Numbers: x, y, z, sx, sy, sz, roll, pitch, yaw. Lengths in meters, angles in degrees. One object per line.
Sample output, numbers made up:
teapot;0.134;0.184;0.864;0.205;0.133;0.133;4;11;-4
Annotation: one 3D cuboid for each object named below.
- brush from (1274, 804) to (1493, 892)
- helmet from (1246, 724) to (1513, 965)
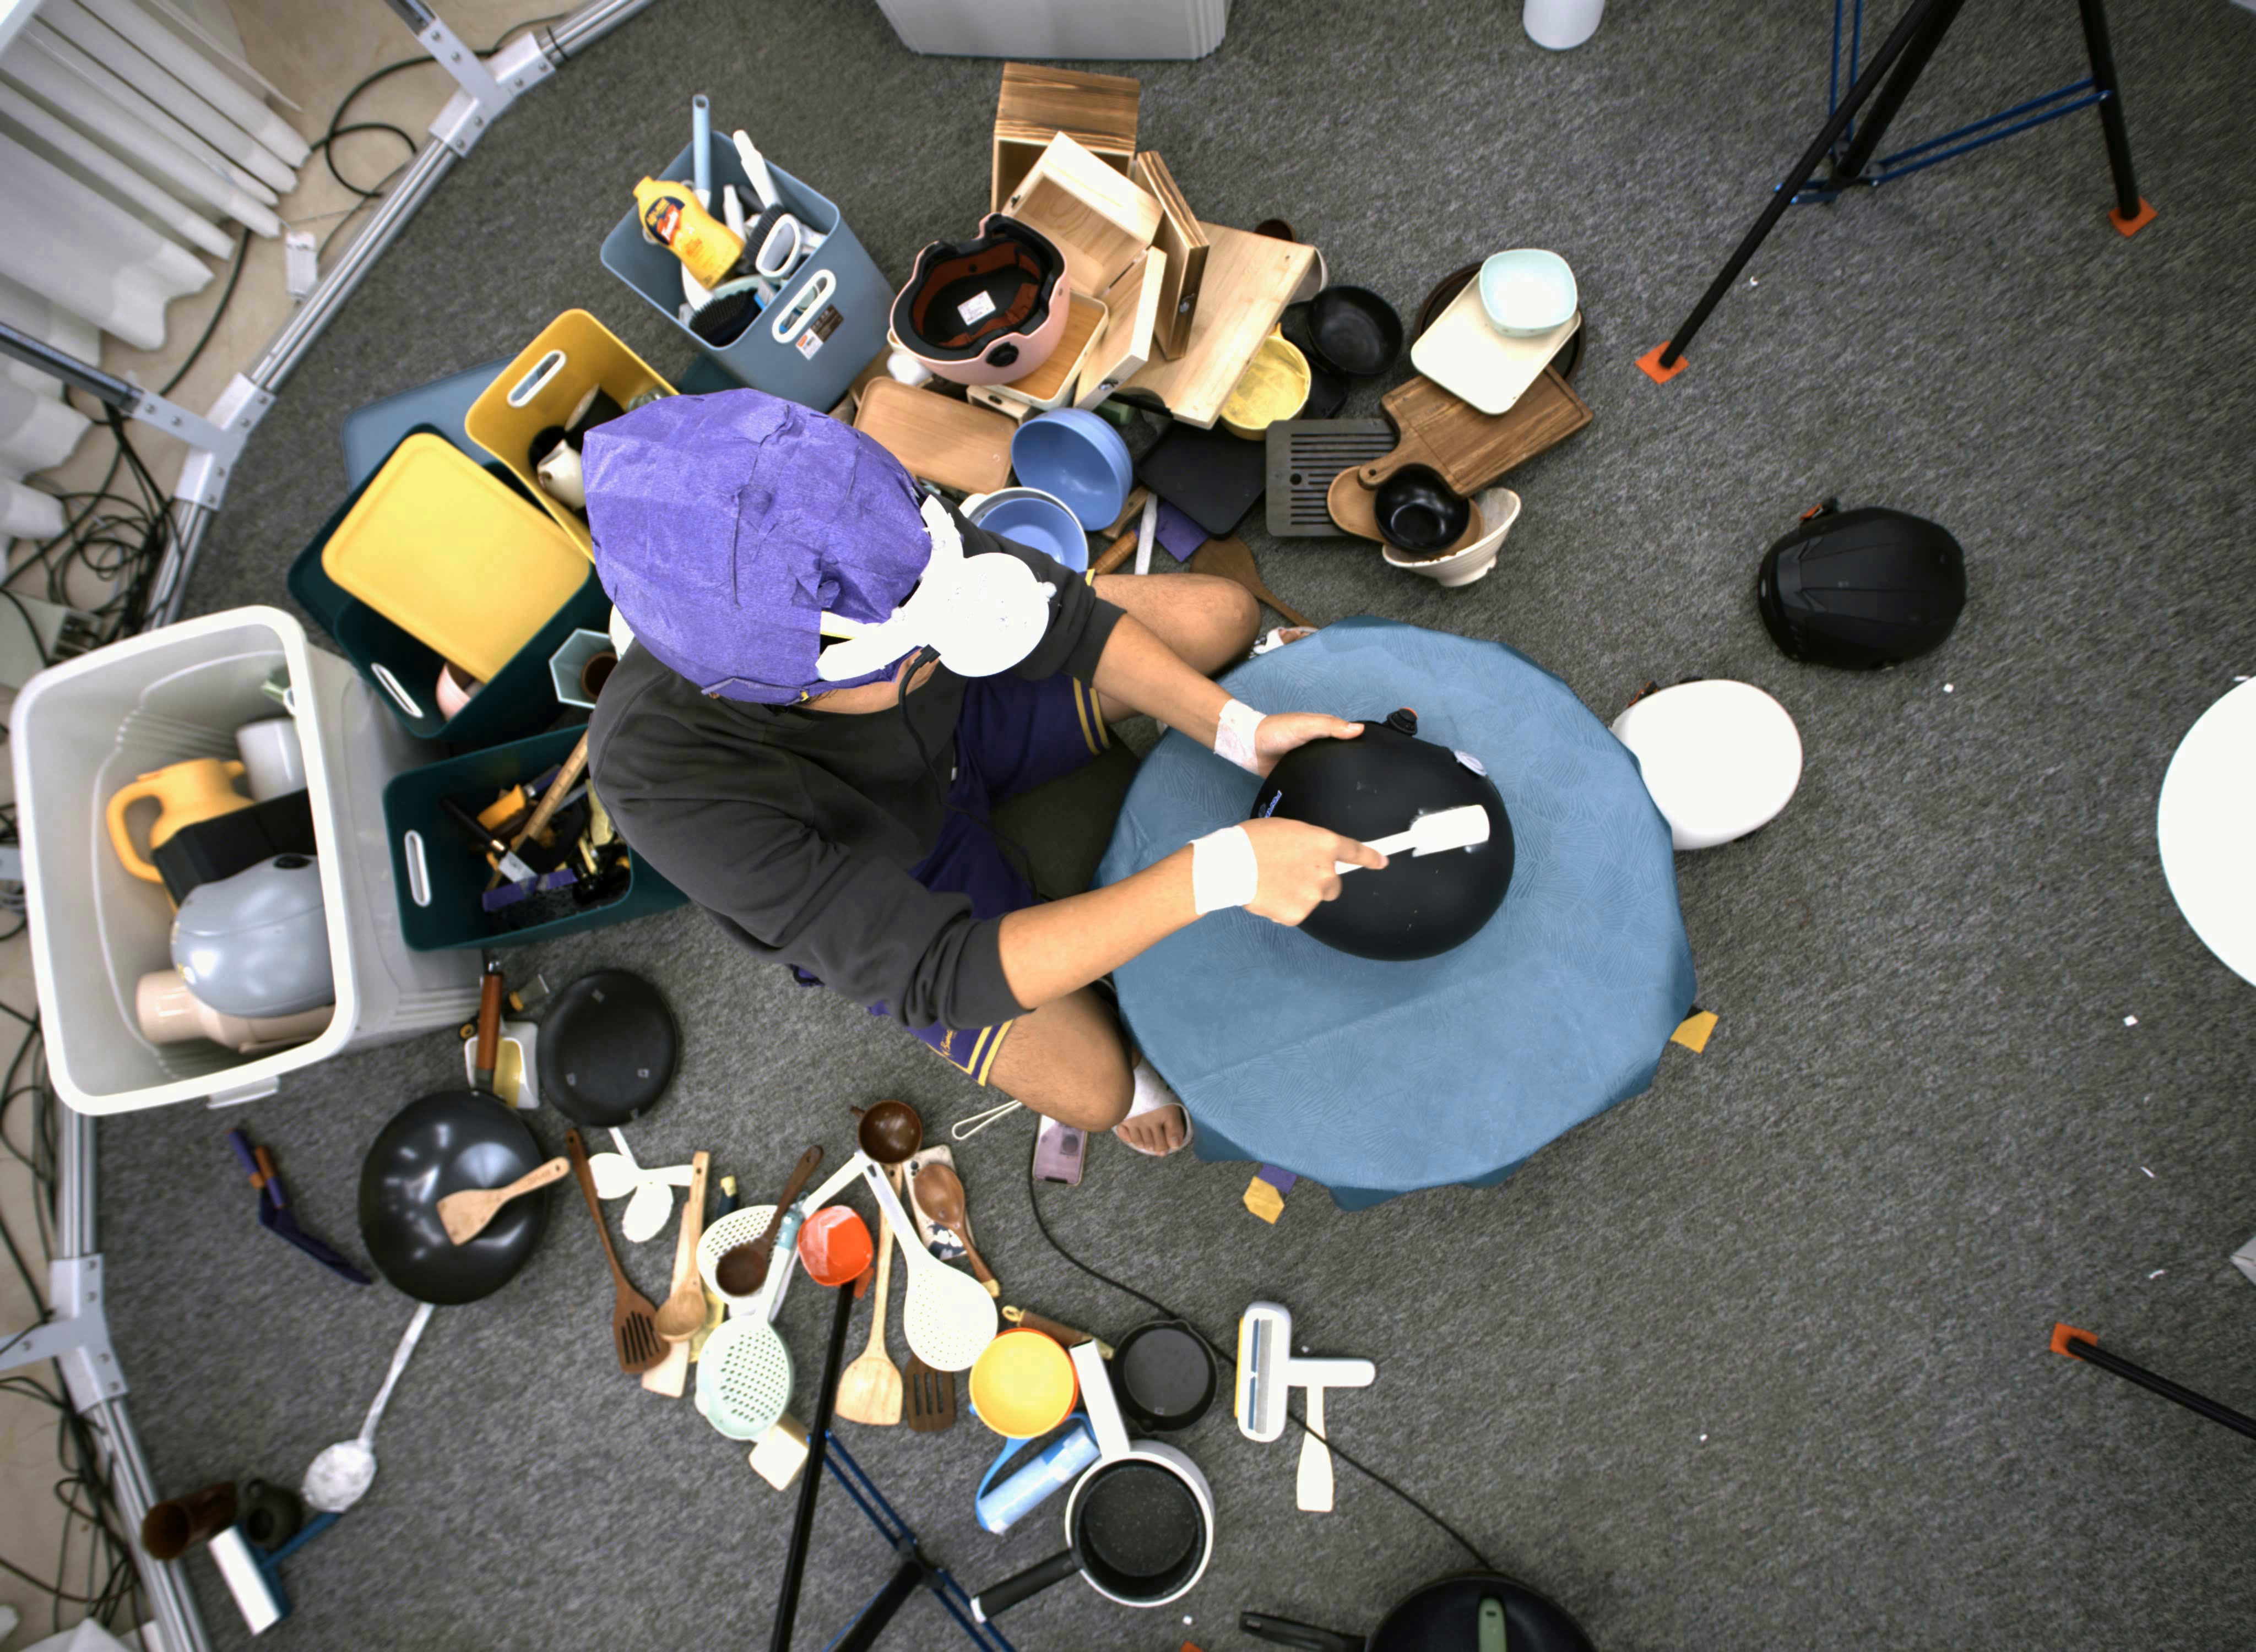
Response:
brush;0.219;0.019;1.202;0.241;0.050;0.034;-14;93;-25
helmet;0.253;0.033;1.340;0.273;0.163;0.235;22;115;-9
